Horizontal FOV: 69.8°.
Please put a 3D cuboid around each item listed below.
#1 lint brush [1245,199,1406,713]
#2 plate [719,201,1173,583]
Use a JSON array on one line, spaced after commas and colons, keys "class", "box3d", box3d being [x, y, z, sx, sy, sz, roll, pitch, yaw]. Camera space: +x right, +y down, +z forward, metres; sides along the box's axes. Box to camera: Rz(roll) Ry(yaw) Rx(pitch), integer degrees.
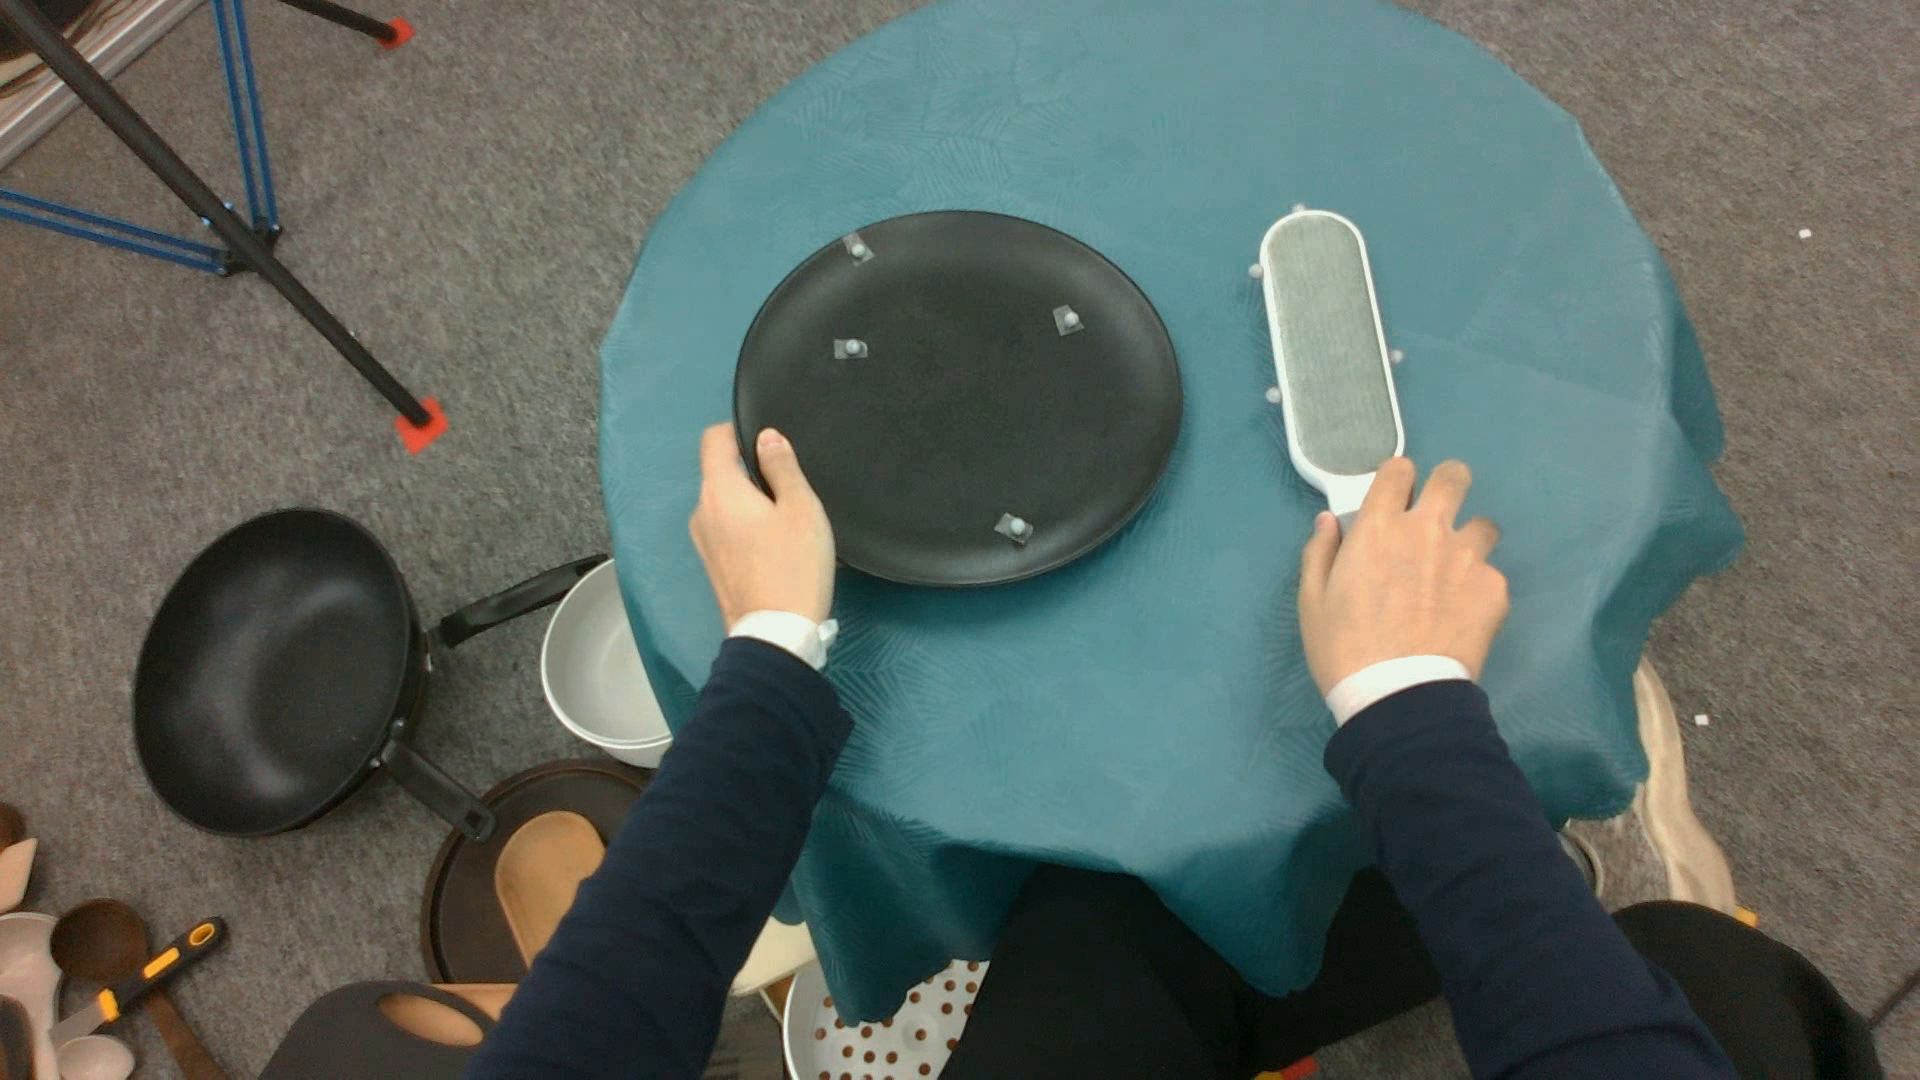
[{"class": "lint brush", "box3d": [0.190, -0.056, 0.710, 0.060, 0.021, 0.310, -2, 61, 0]}, {"class": "plate", "box3d": [-0.007, -0.084, 0.748, 0.244, 0.023, 0.245, 1, 62, -1]}]
